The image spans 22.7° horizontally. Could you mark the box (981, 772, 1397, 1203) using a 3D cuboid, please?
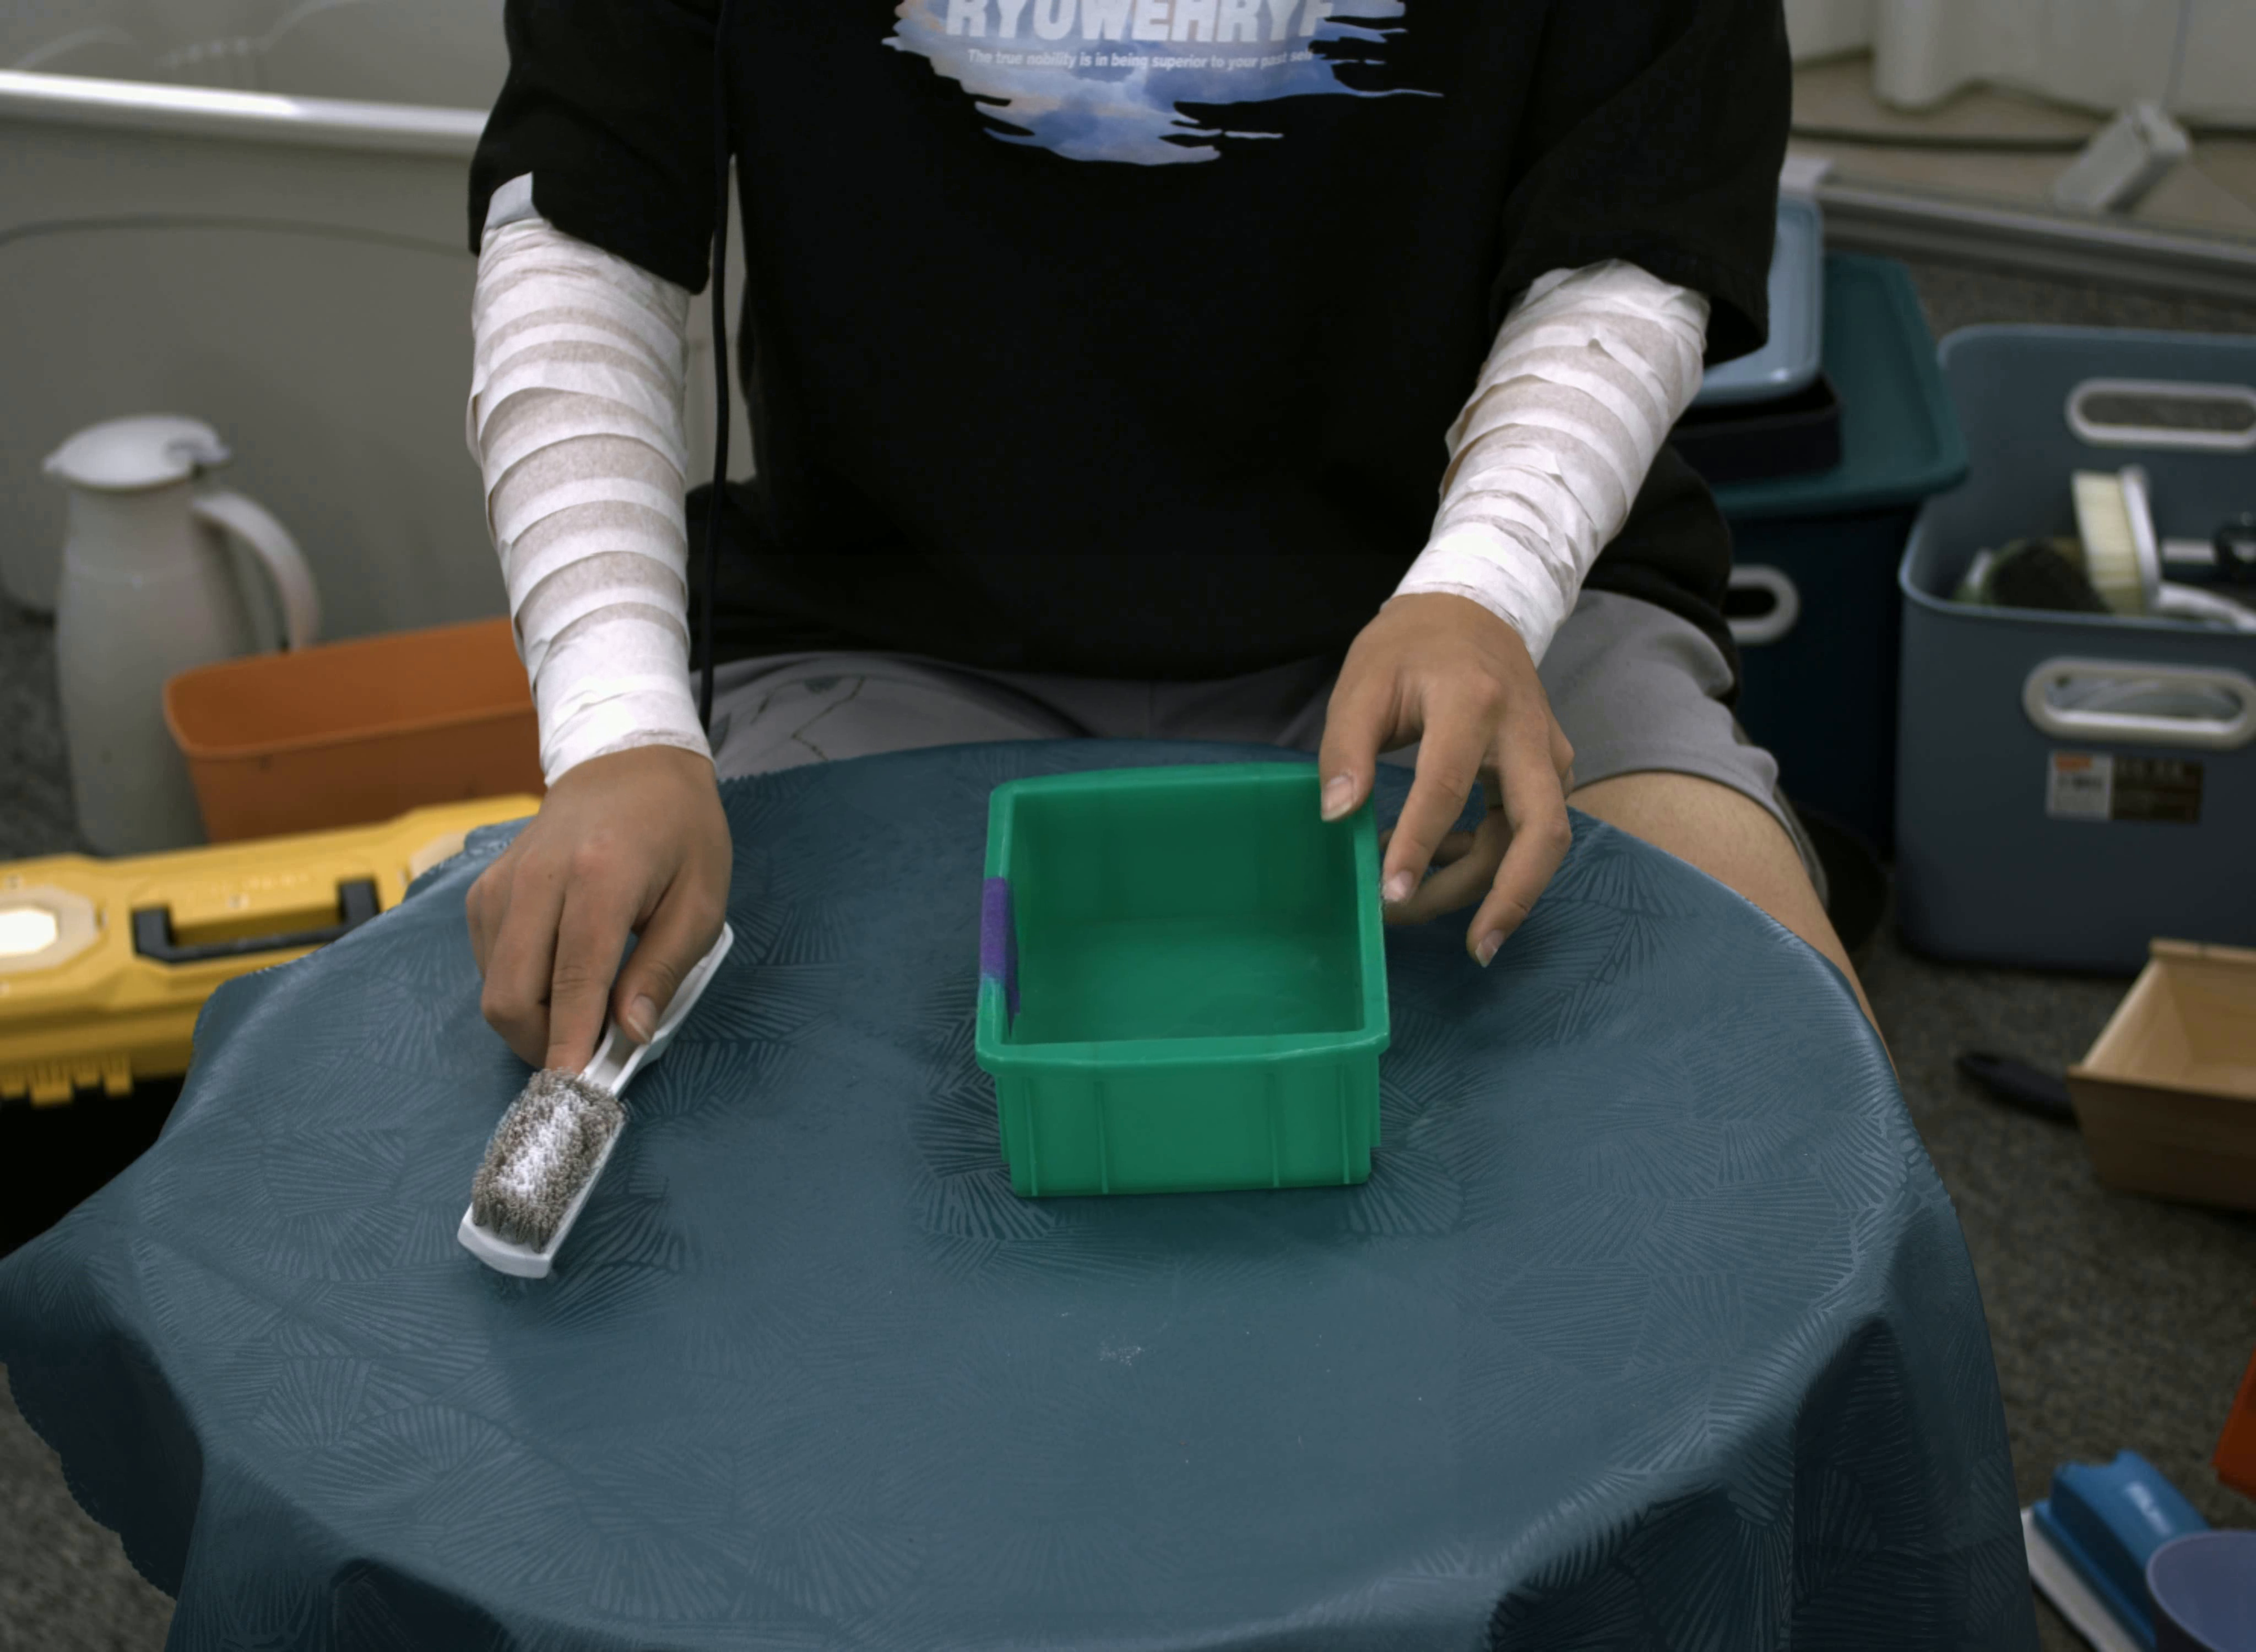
[{"bbox_3d":[0.021,0.055,1.922,0.138,0.064,0.213,-5,26,1],"label":"box"}]

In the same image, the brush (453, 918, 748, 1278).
[{"bbox_3d":[-0.170,0.076,1.912,0.034,0.049,0.248,26,30,3],"label":"brush"}]
